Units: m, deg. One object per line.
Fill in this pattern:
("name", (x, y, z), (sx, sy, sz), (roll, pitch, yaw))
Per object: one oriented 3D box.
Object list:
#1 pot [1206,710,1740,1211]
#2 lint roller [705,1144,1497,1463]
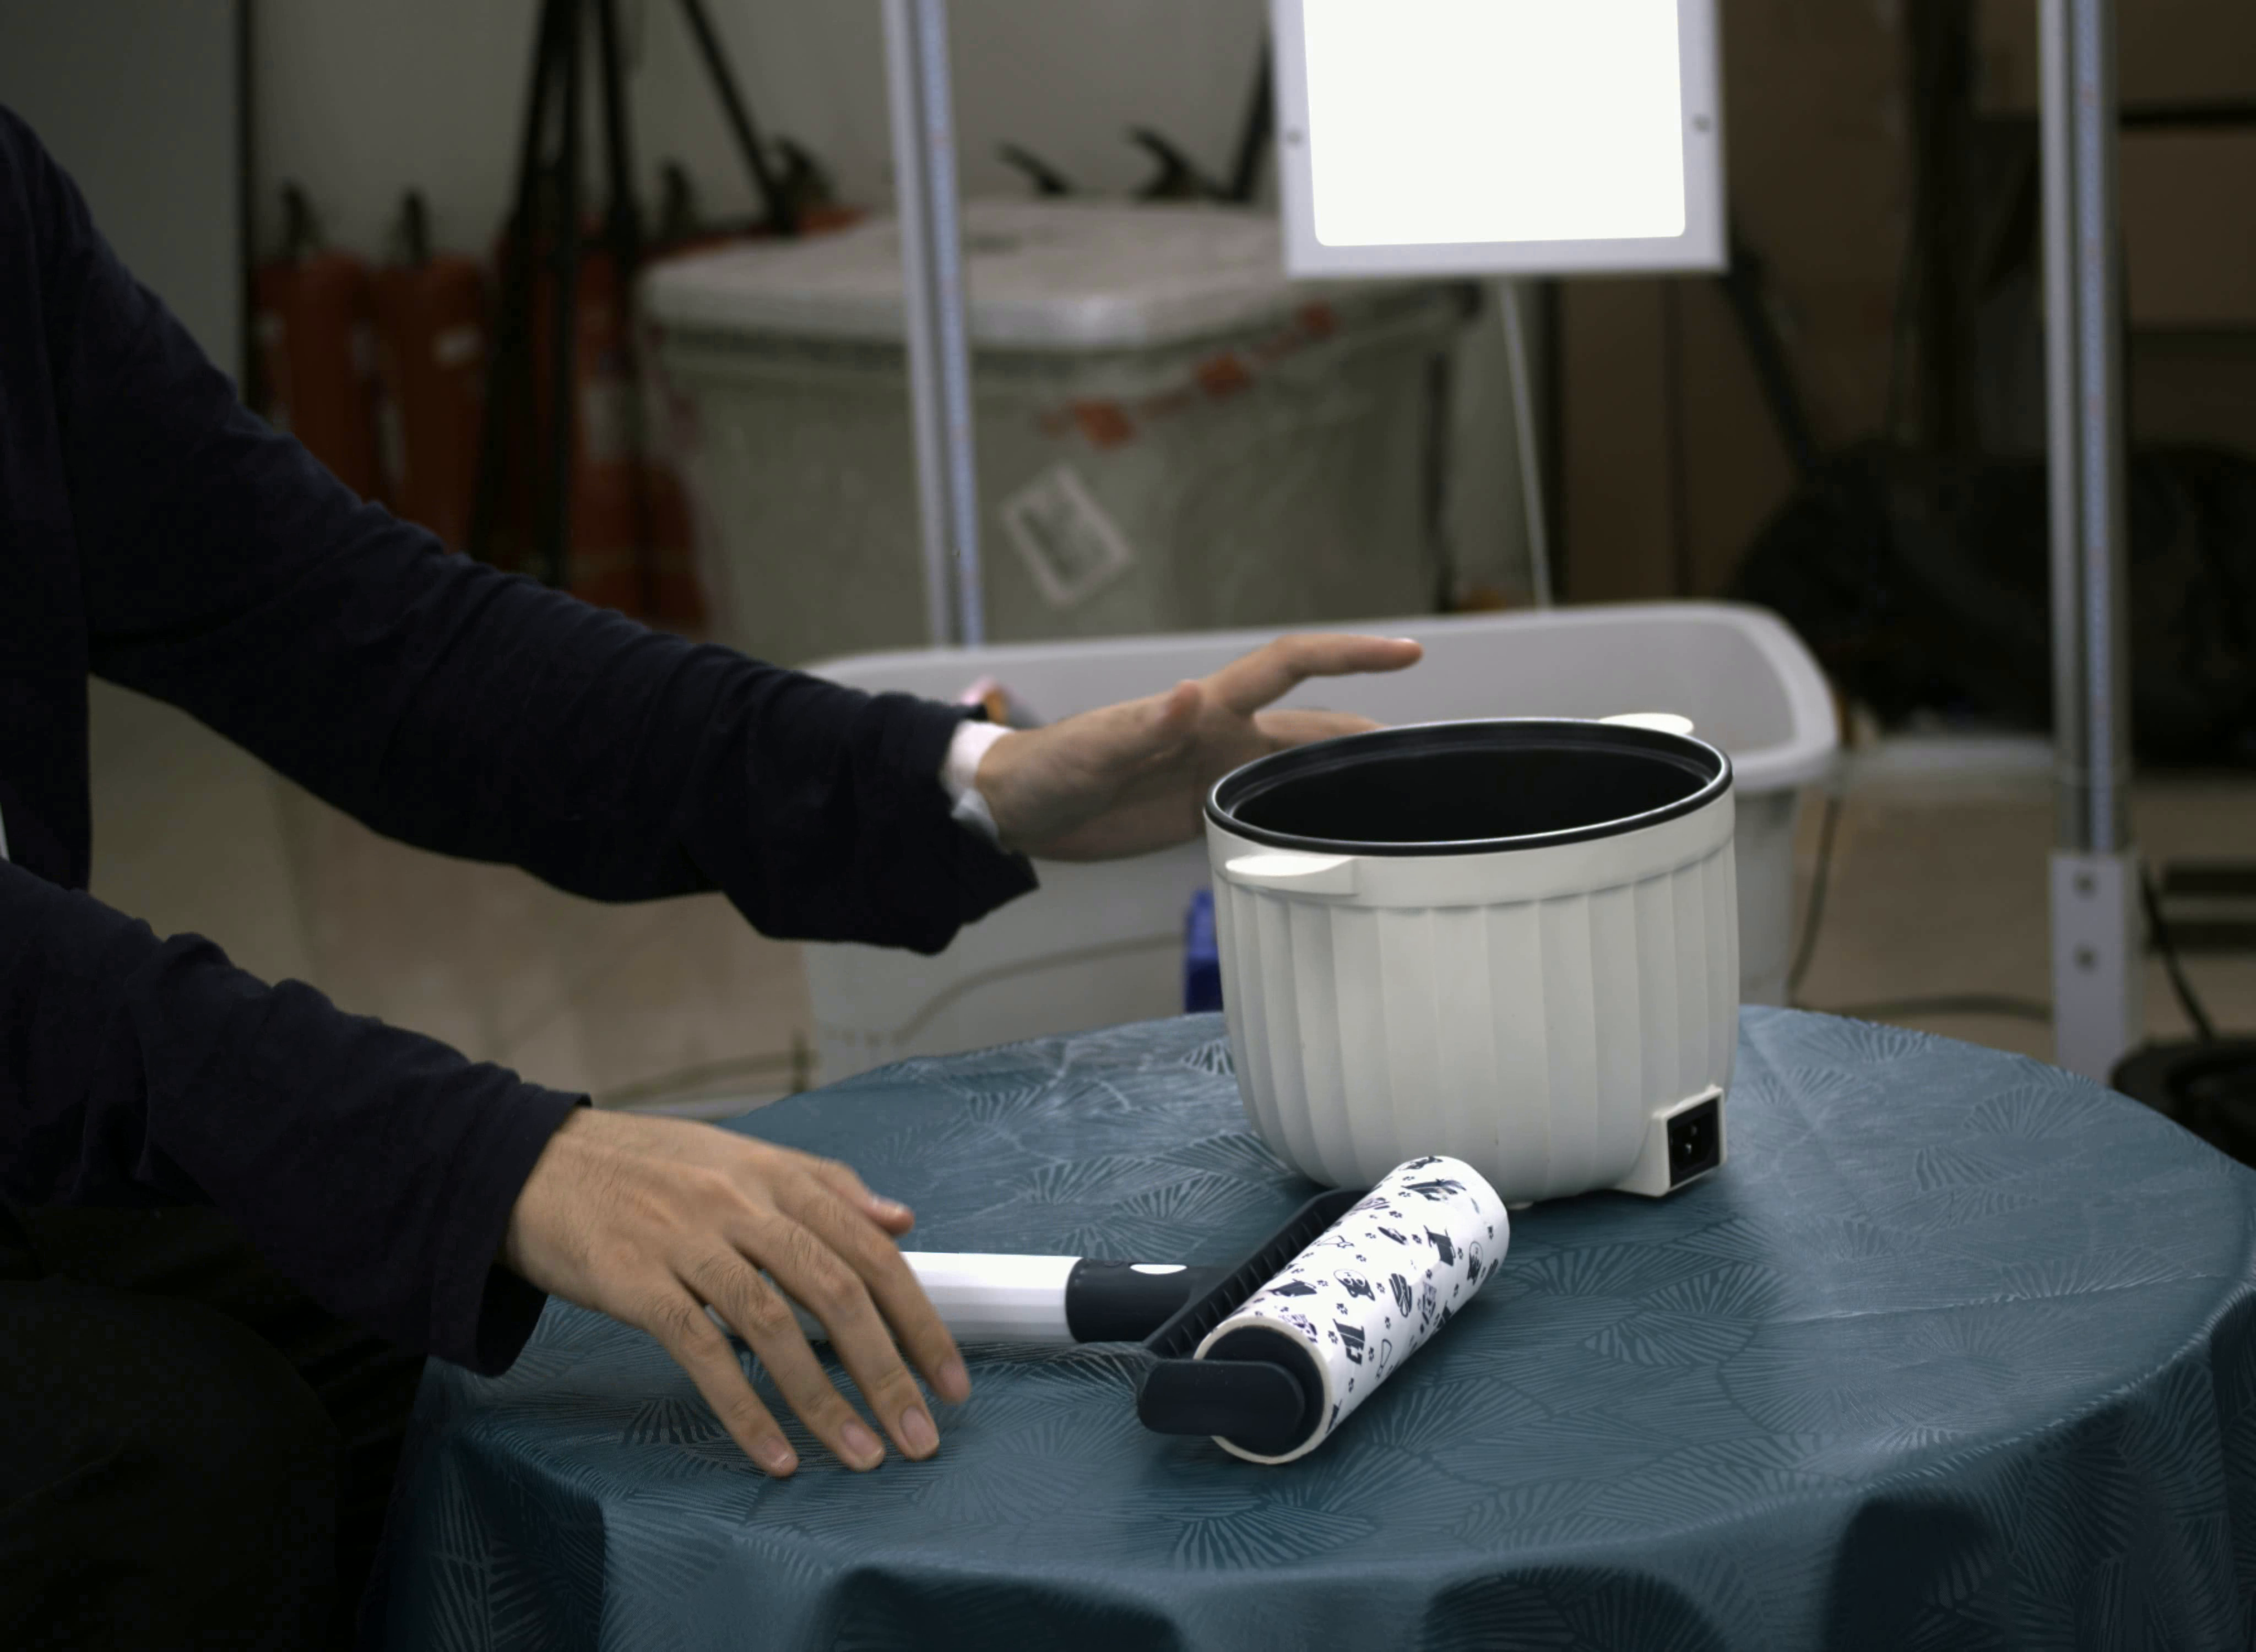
("pot", (0.117, 0.048, 1.890), (0.194, 0.143, 0.234), (11, 20, 40))
("lint roller", (-0.024, 0.148, 1.735), (0.251, 0.050, 0.173), (-2, 15, 25))
